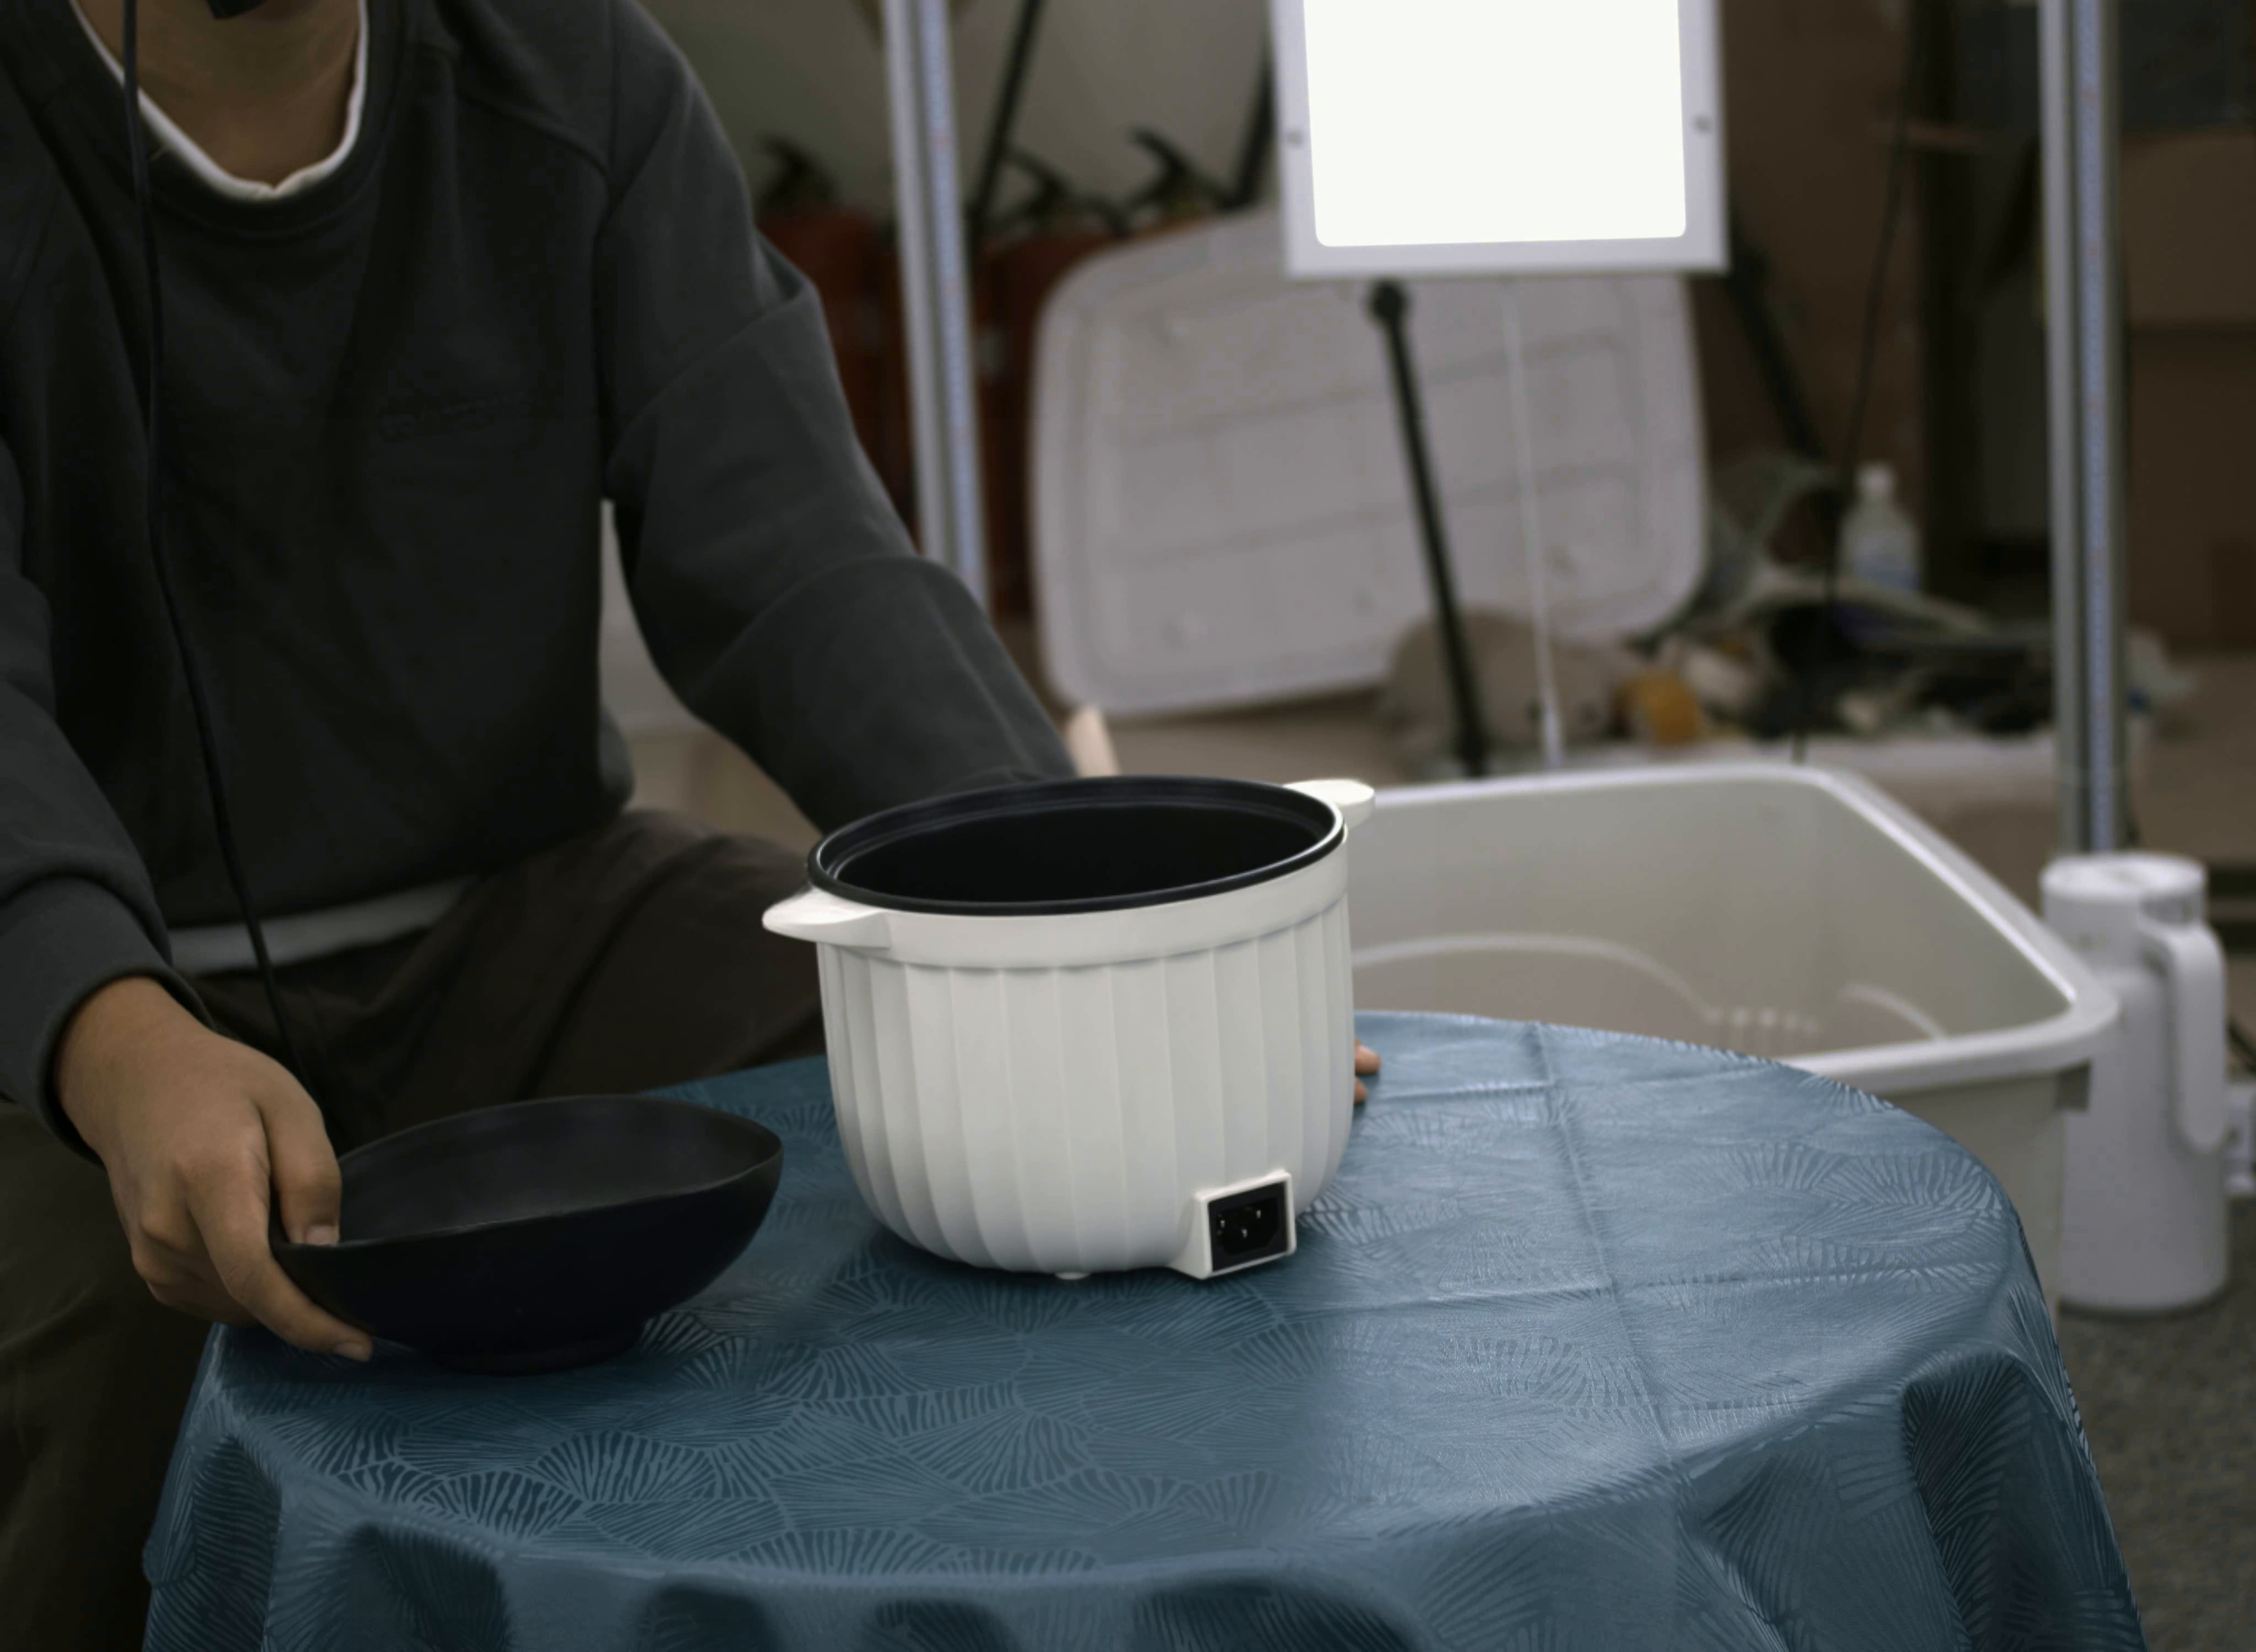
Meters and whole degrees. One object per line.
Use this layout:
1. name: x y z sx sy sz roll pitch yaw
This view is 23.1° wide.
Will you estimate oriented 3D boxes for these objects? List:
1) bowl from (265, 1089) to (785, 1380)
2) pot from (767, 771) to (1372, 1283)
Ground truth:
1. bowl: -0.191 0.138 1.785 0.168 0.067 0.138 -9 13 -11
2. pot: -0.016 0.067 1.855 0.234 0.143 0.194 -12 18 -32
